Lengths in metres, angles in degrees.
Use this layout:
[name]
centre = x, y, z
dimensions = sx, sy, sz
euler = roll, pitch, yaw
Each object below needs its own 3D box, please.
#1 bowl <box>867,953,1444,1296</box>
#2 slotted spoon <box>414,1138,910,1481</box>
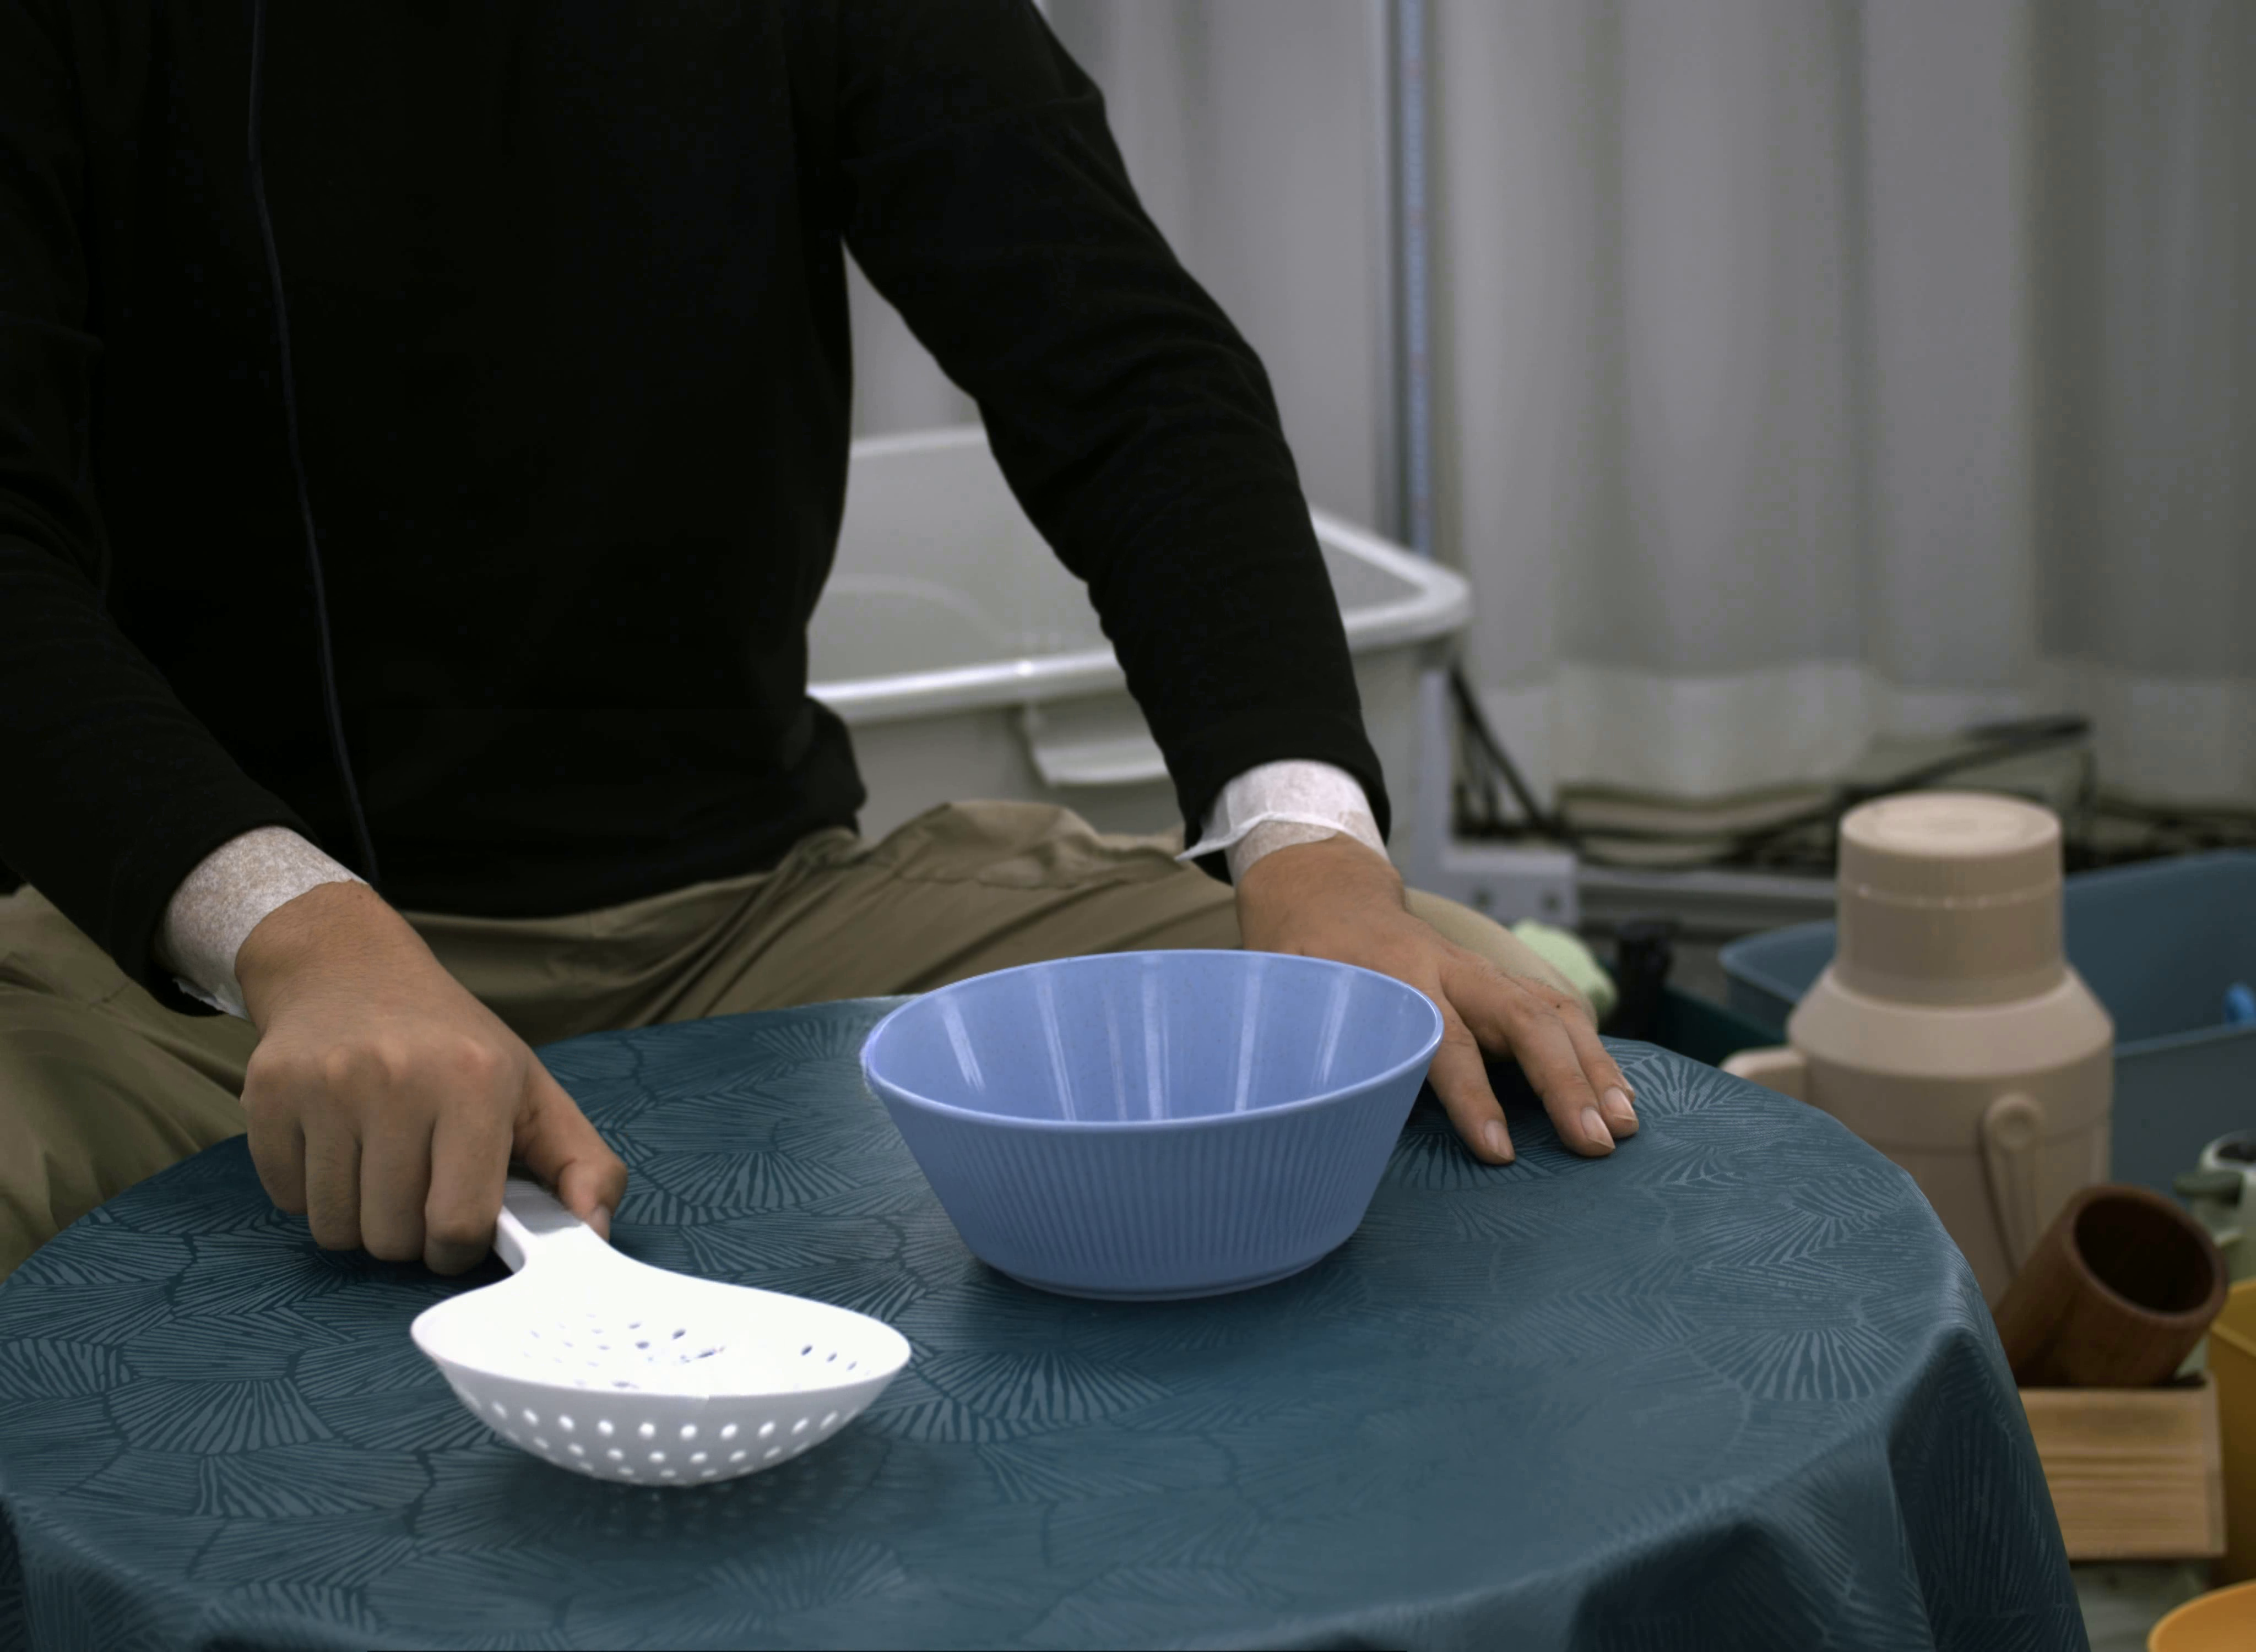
[bowl]
centre = 0.009, 0.093, 1.658
dimensions = 0.175, 0.070, 0.177
euler = -3, 14, 0
[slotted spoon]
centre = -0.161, 0.131, 1.593
dimensions = 0.135, 0.045, 0.352
euler = 1, 12, -18
